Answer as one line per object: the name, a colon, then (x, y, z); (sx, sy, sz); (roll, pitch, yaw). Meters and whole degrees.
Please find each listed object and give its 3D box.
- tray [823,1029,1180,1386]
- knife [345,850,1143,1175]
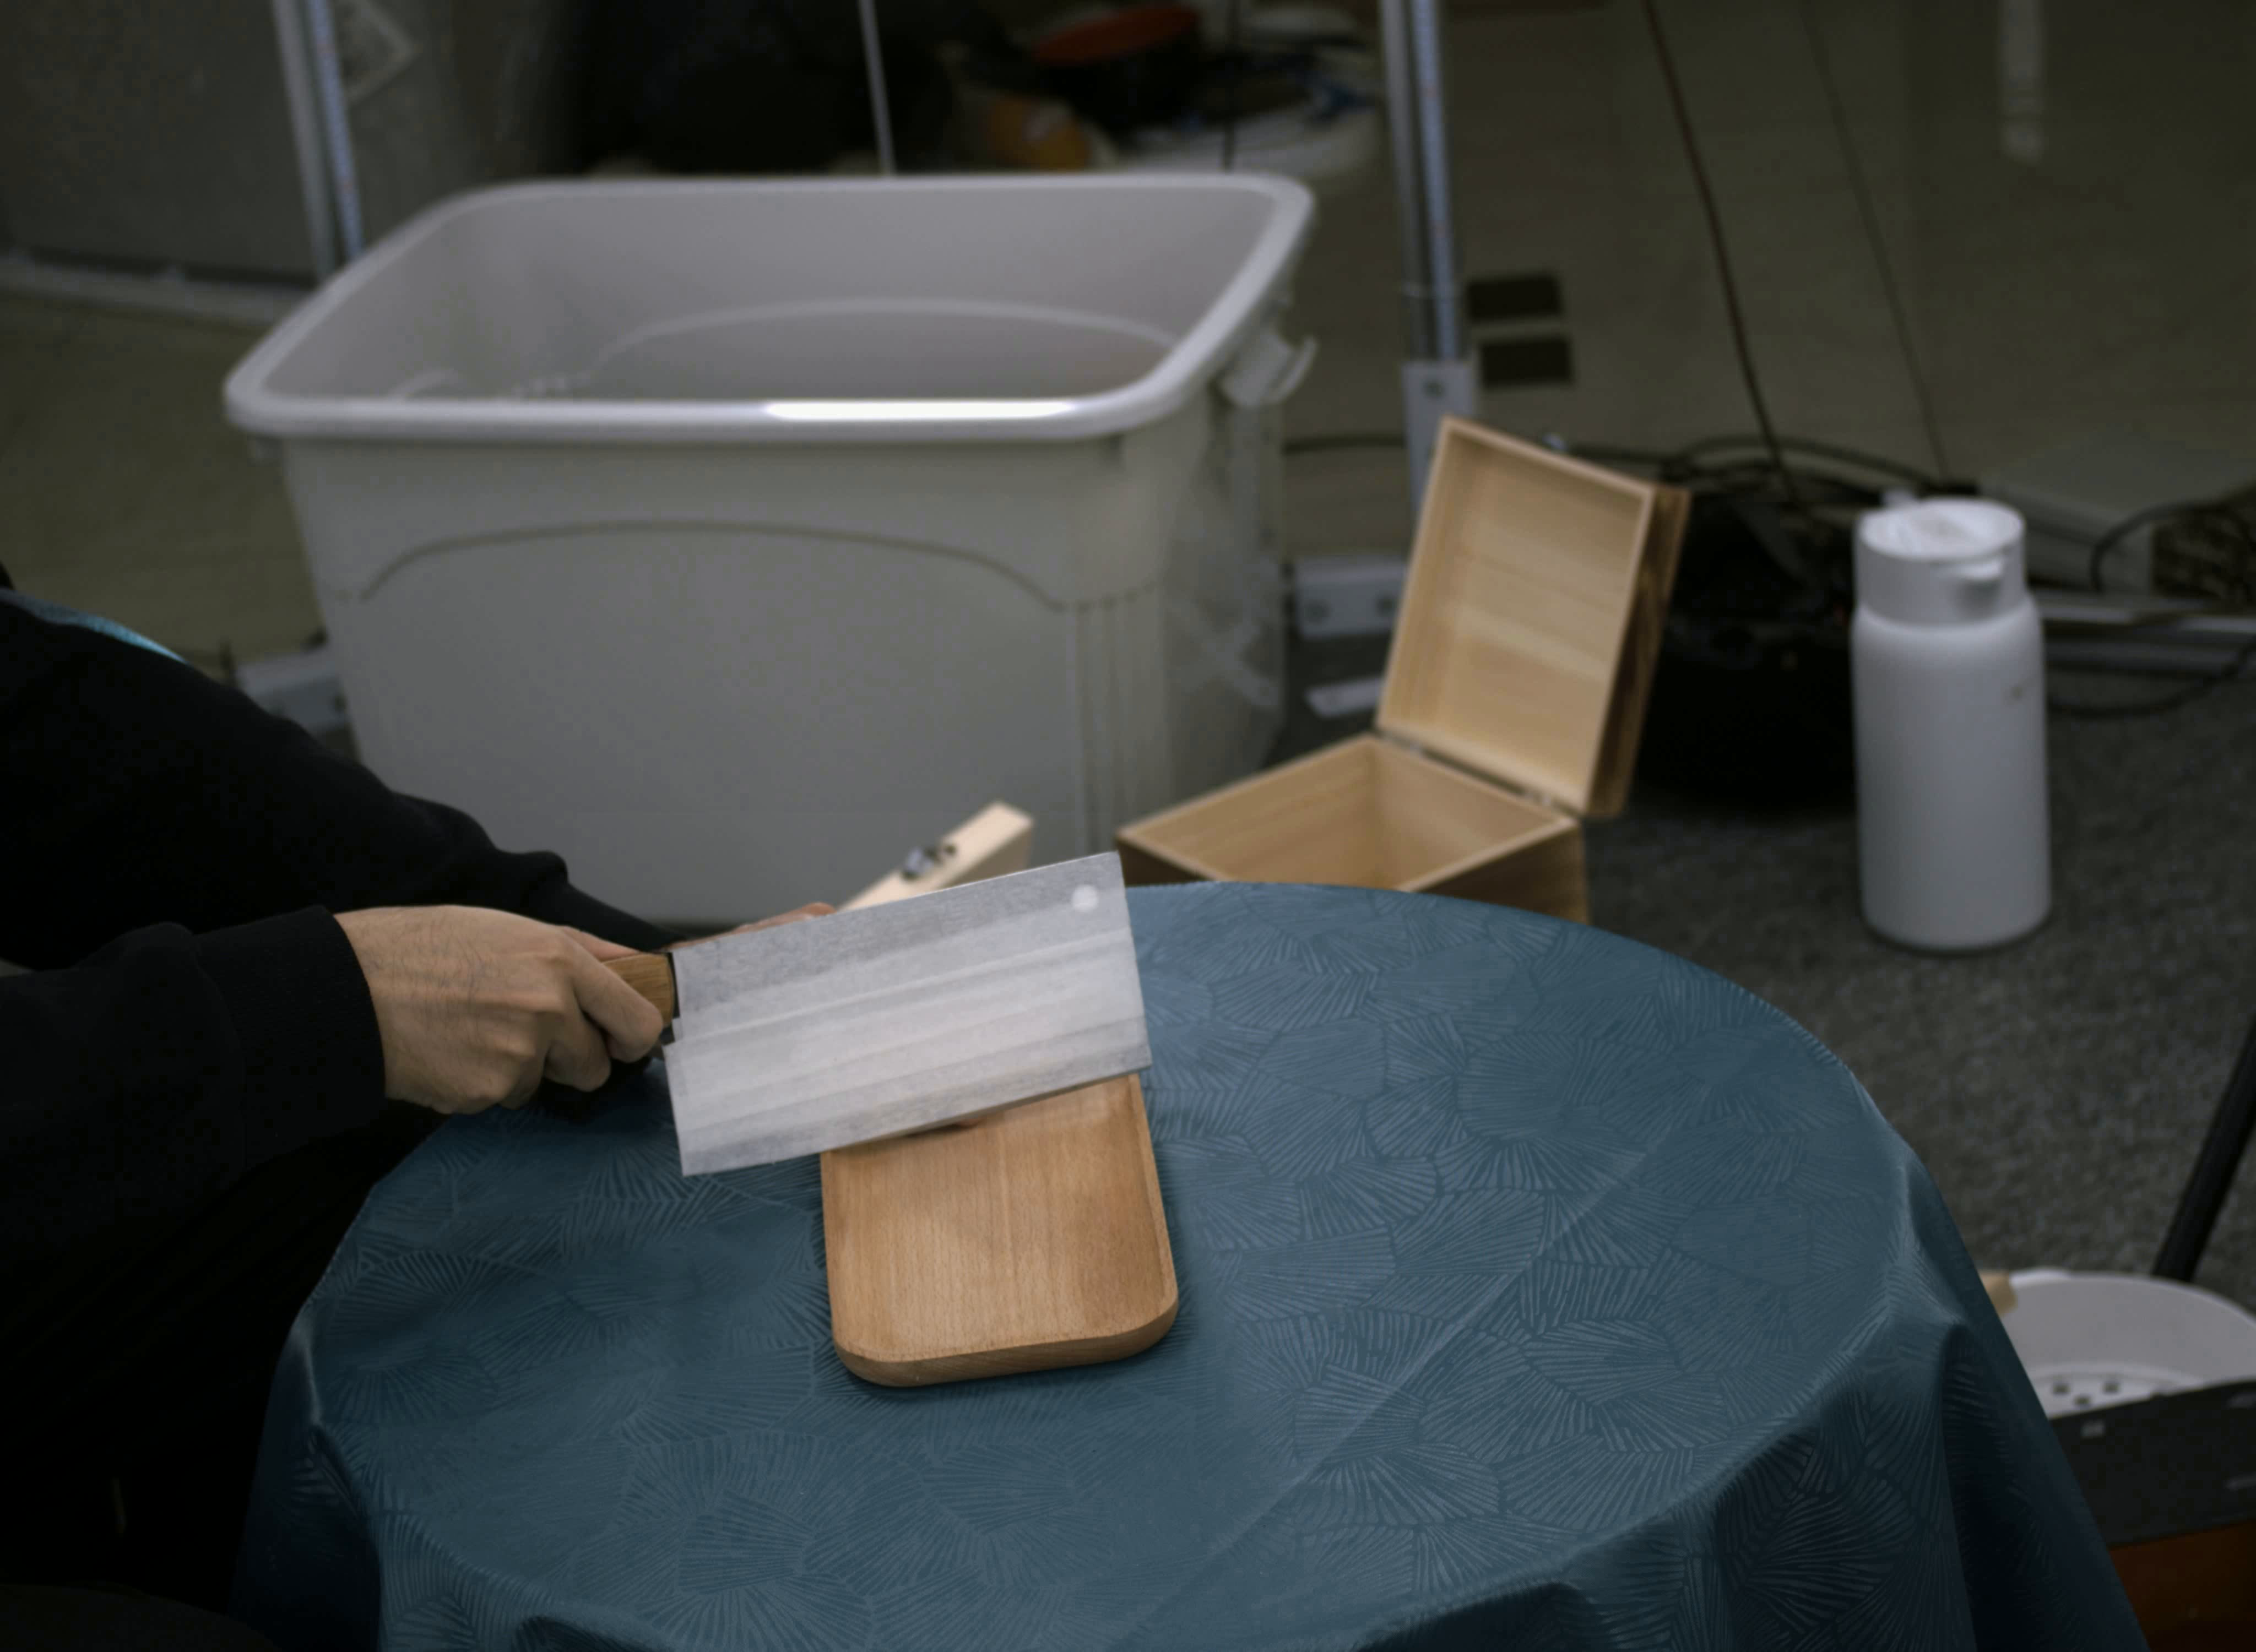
tray: (-0.050, 0.141, 2.137); (0.130, 0.023, 0.247); (-5, 24, -1)
knife: (-0.141, 0.082, 2.152); (0.305, 0.094, 0.021); (-13, 17, -14)
